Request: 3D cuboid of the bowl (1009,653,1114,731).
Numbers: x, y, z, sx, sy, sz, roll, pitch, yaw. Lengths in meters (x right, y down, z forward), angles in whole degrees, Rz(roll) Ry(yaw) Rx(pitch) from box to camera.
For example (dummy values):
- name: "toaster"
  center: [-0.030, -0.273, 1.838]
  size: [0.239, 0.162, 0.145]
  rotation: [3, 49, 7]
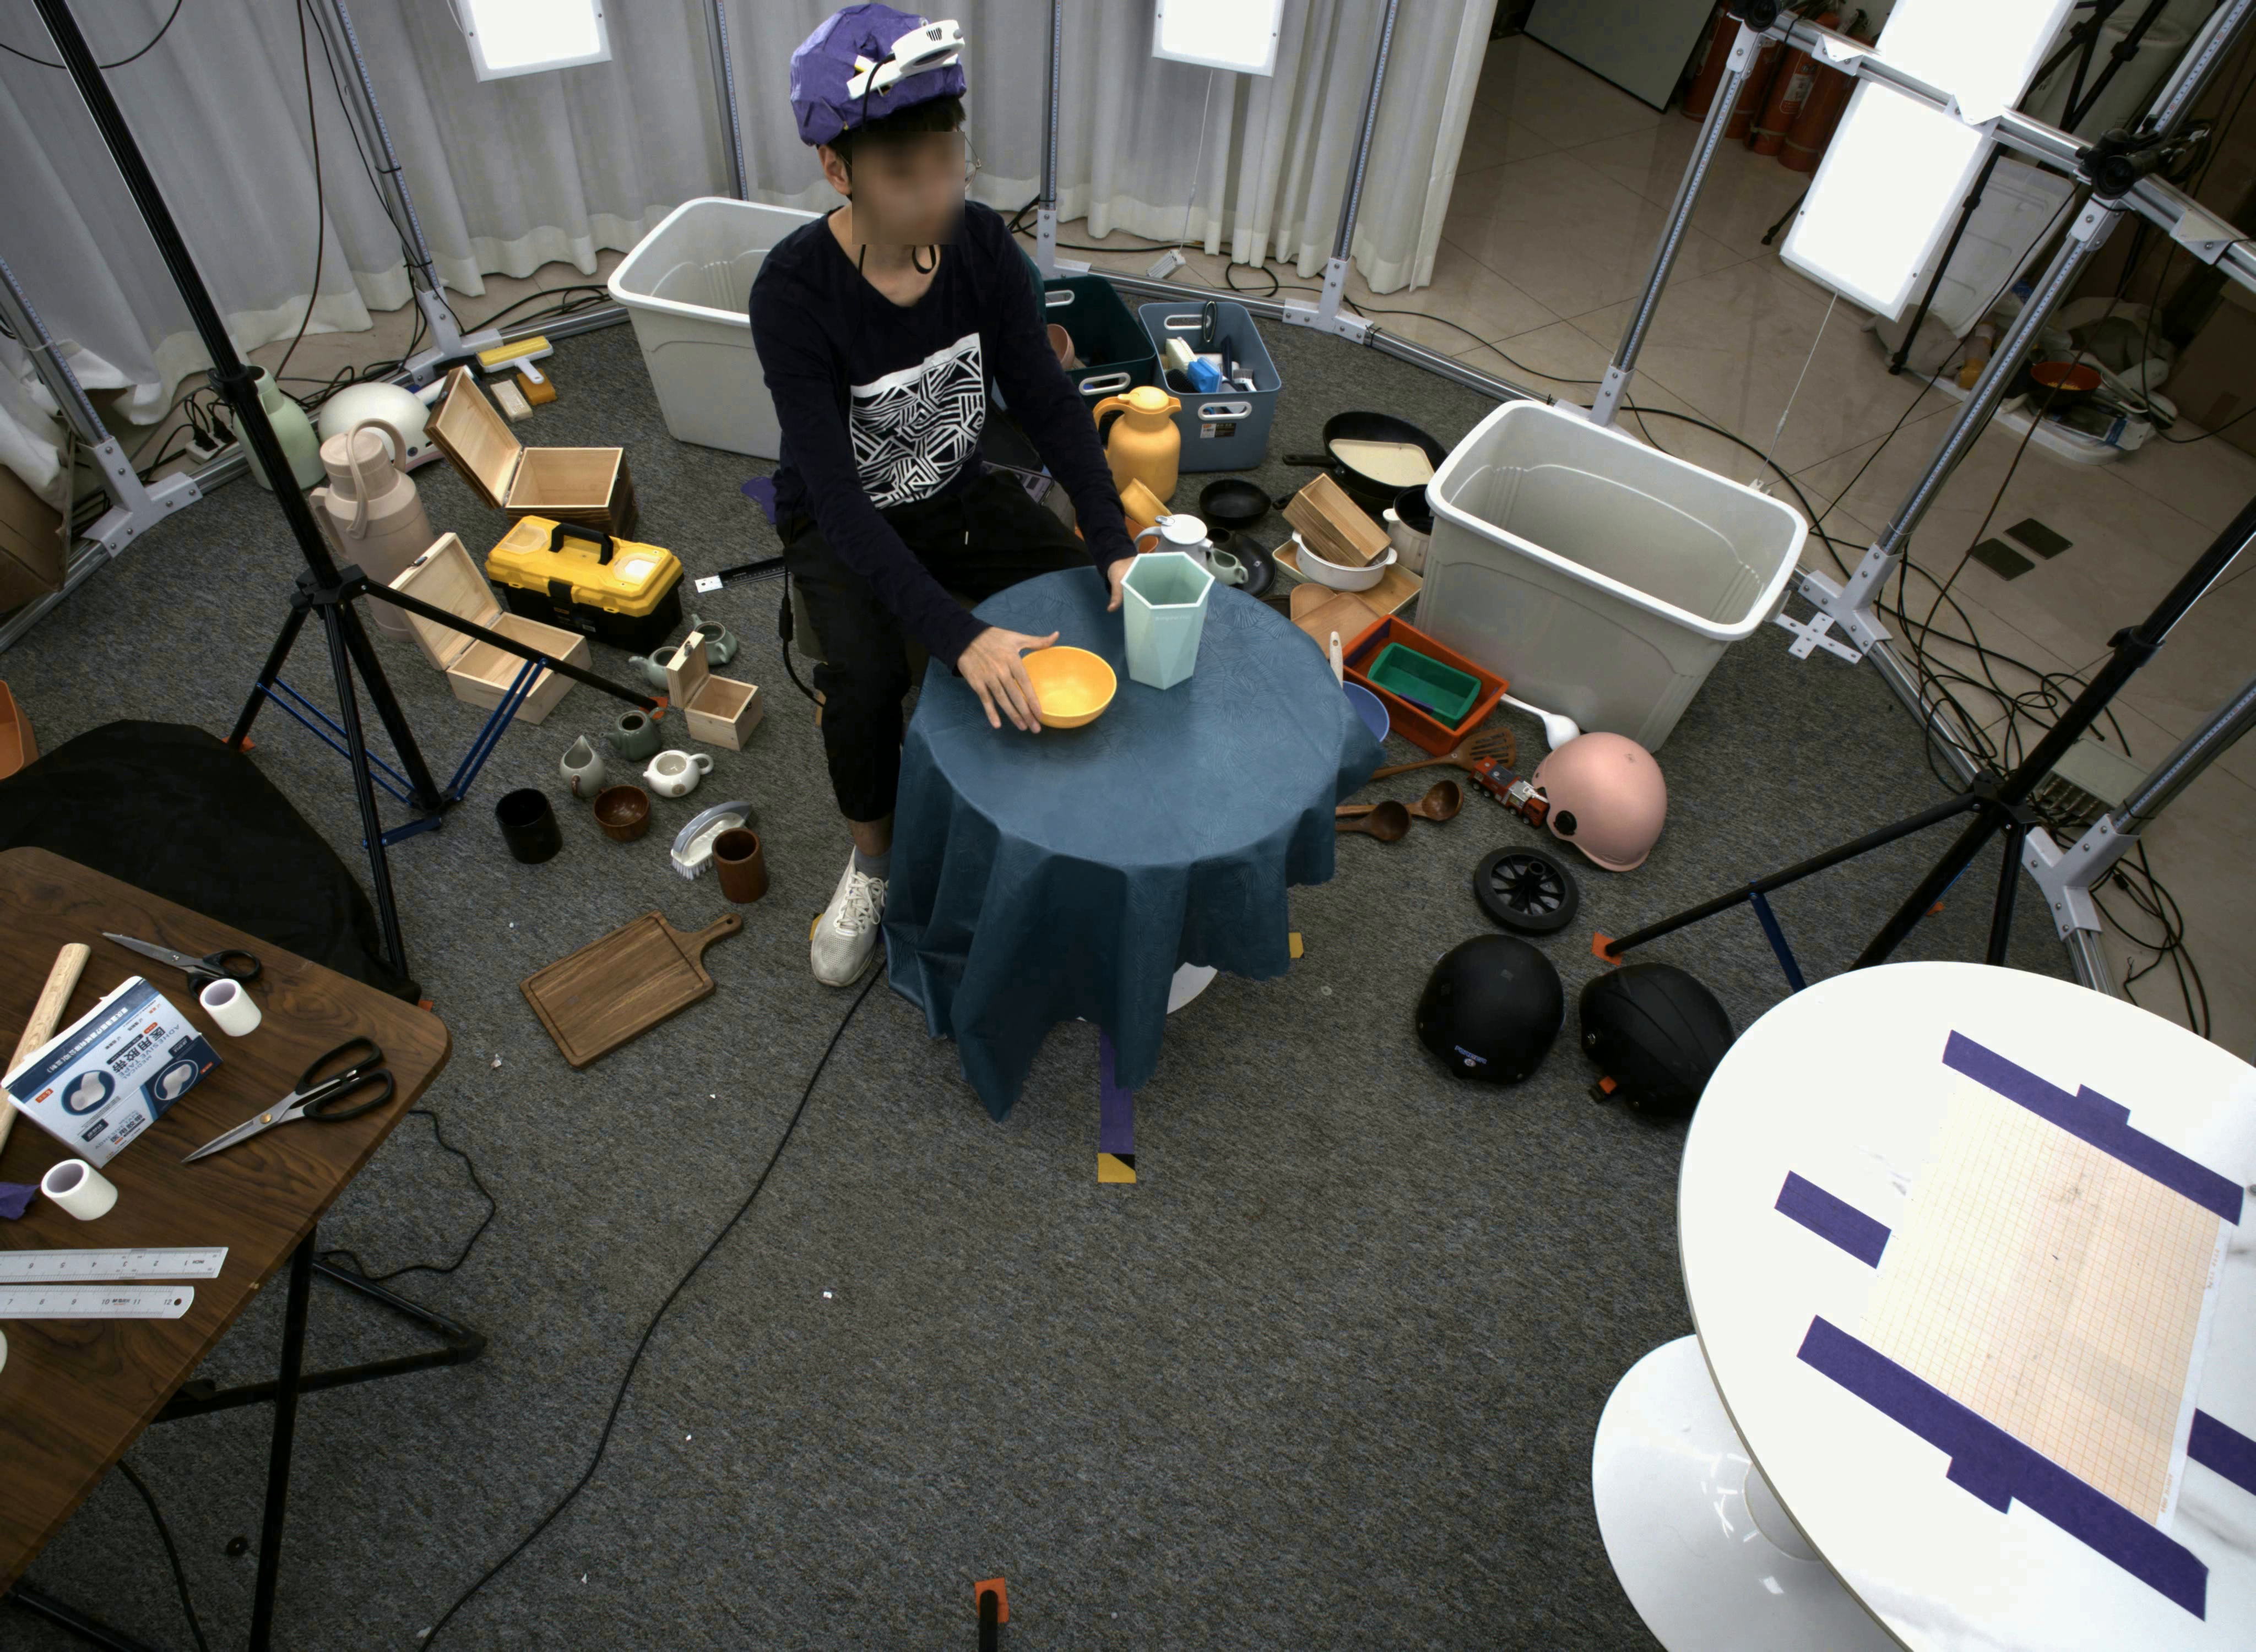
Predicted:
- name: "bowl"
  center: [-0.092, -0.176, 1.782]
  size: [0.145, 0.058, 0.149]
  rotation: [0, 41, 0]

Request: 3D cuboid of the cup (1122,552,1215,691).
- name: "cup"
  center: [0.050, -0.285, 1.814]
  size: [0.131, 0.159, 0.118]
  rotation: [-5, 47, -10]
